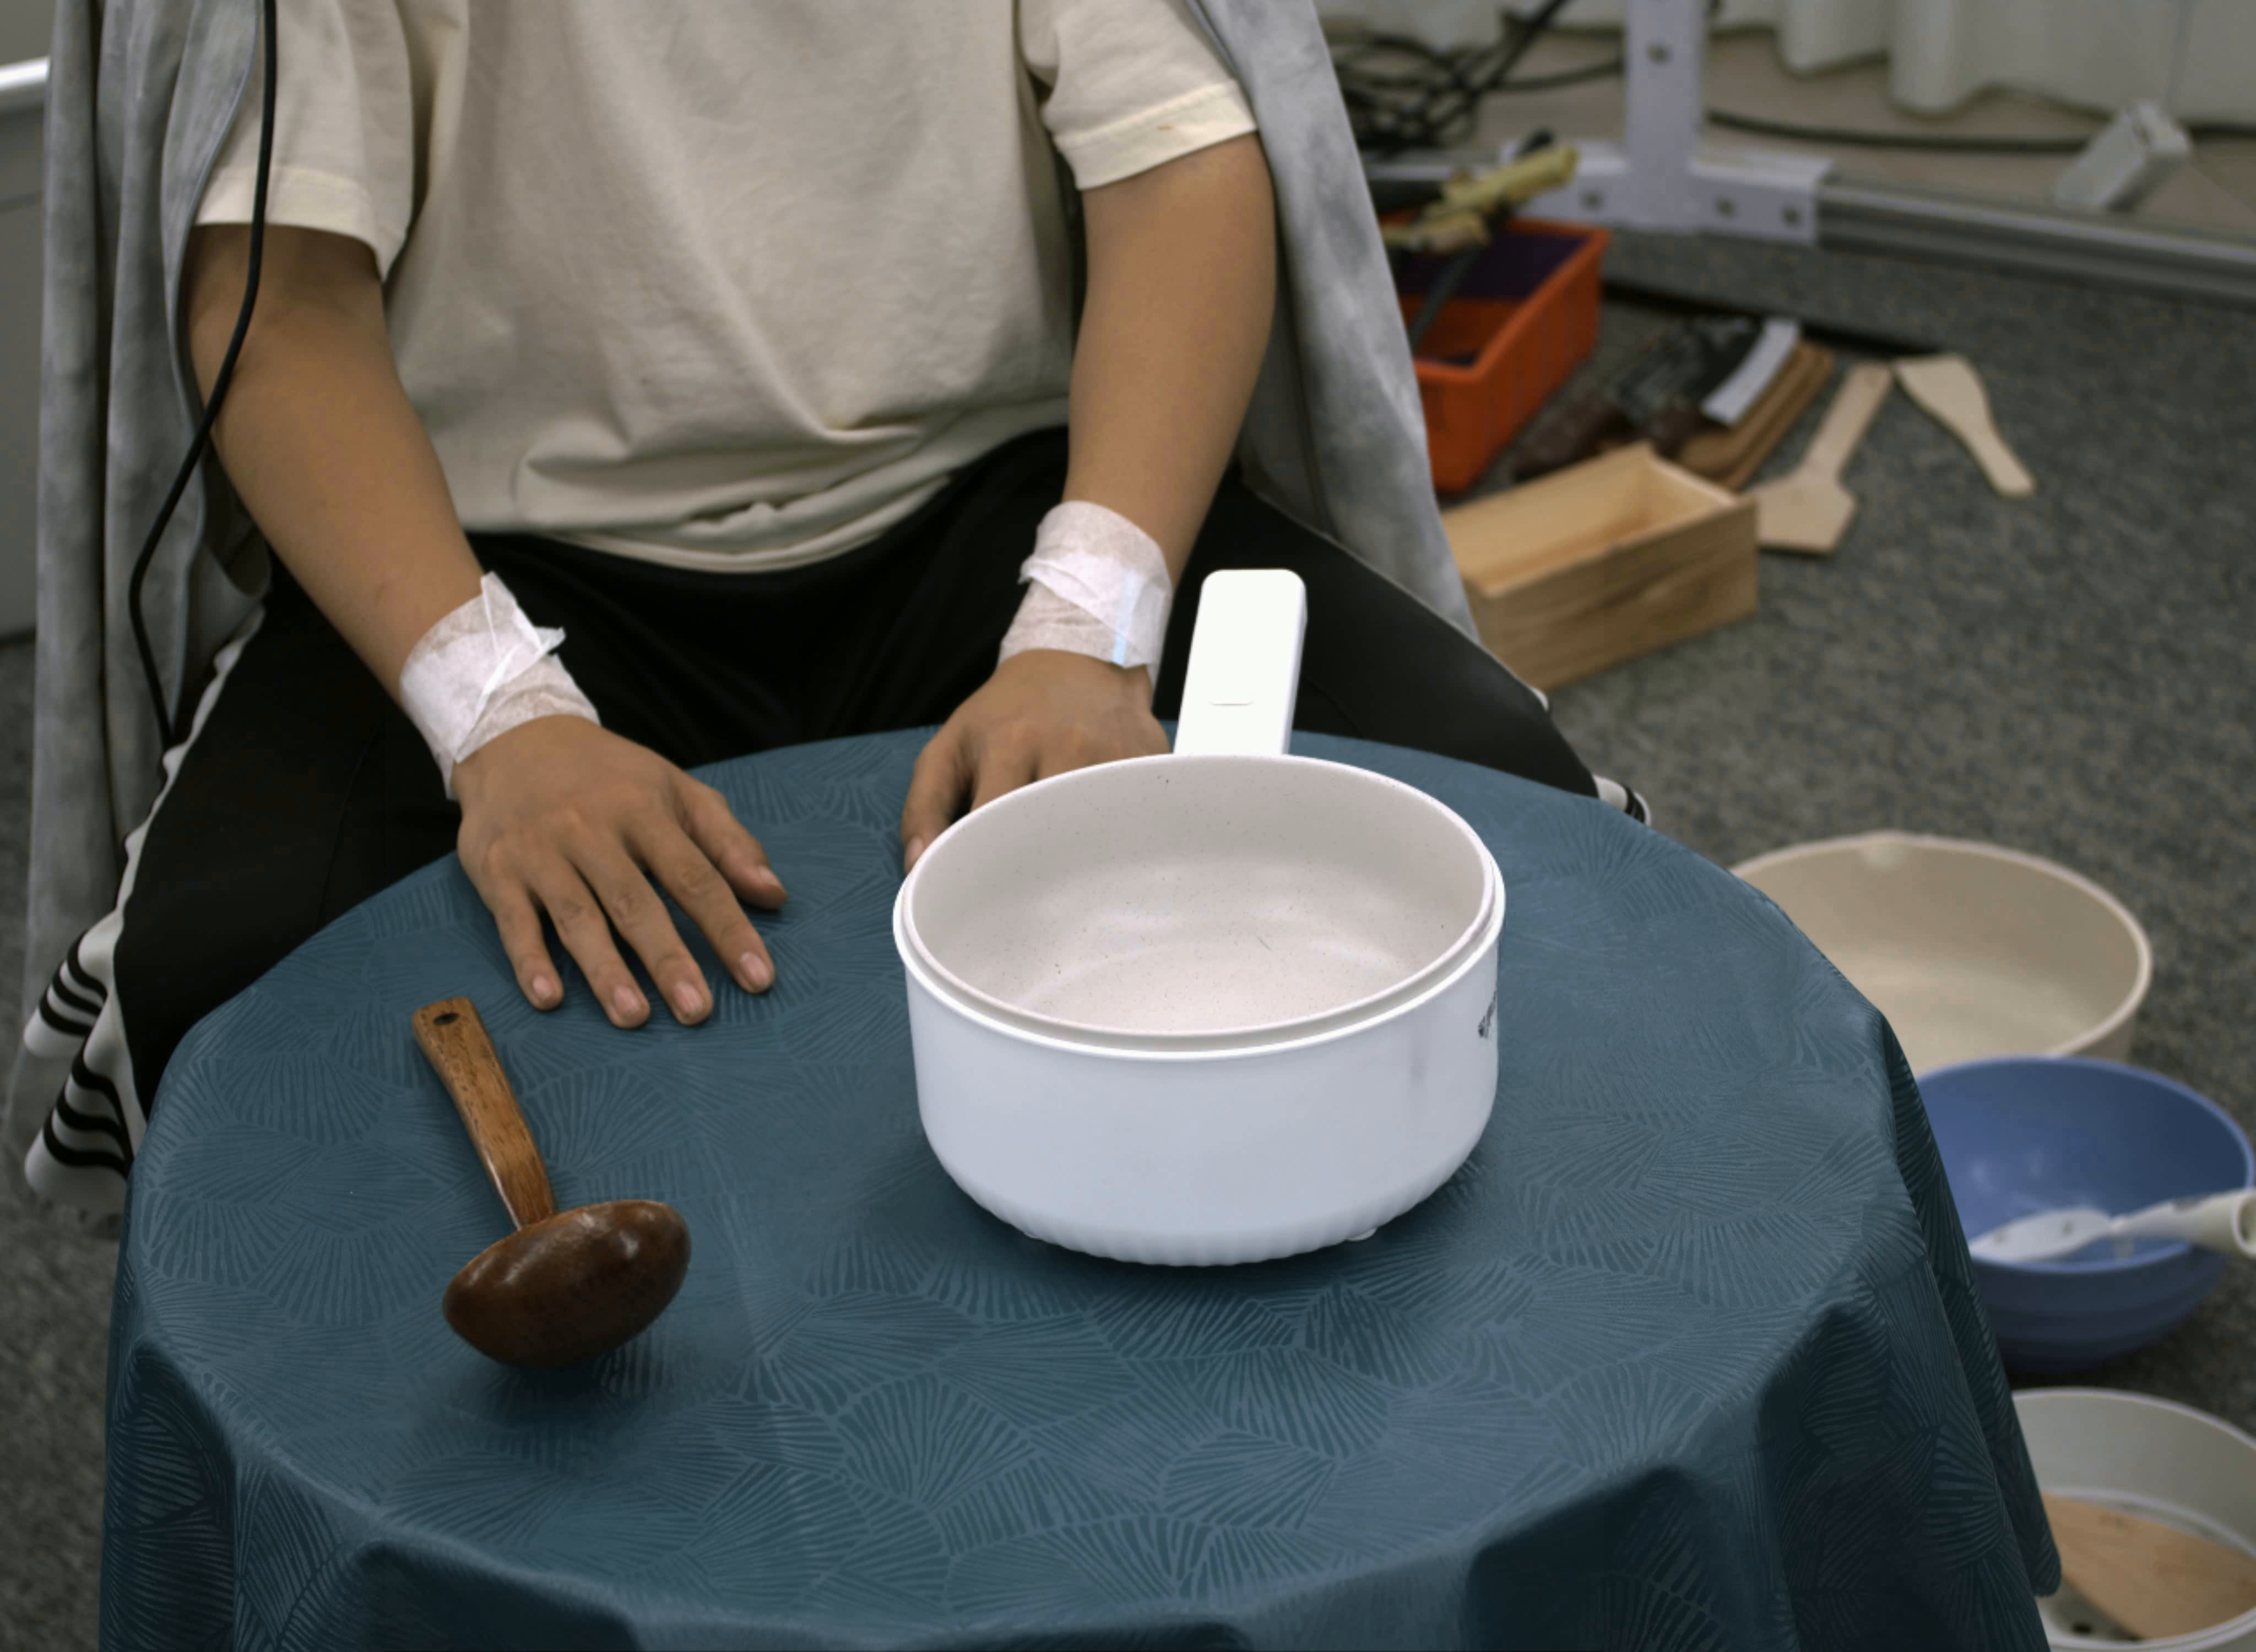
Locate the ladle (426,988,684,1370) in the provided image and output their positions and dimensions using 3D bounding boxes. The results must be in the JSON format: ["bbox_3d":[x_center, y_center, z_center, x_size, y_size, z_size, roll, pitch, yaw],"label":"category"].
[{"bbox_3d":[-0.205,0.097,1.844,0.082,0.076,0.277,-11,29,-11],"label":"ladle"}]

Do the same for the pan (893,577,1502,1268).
[{"bbox_3d":[0.033,0.030,1.931,0.200,0.101,0.360,-1,26,7],"label":"pan"}]
